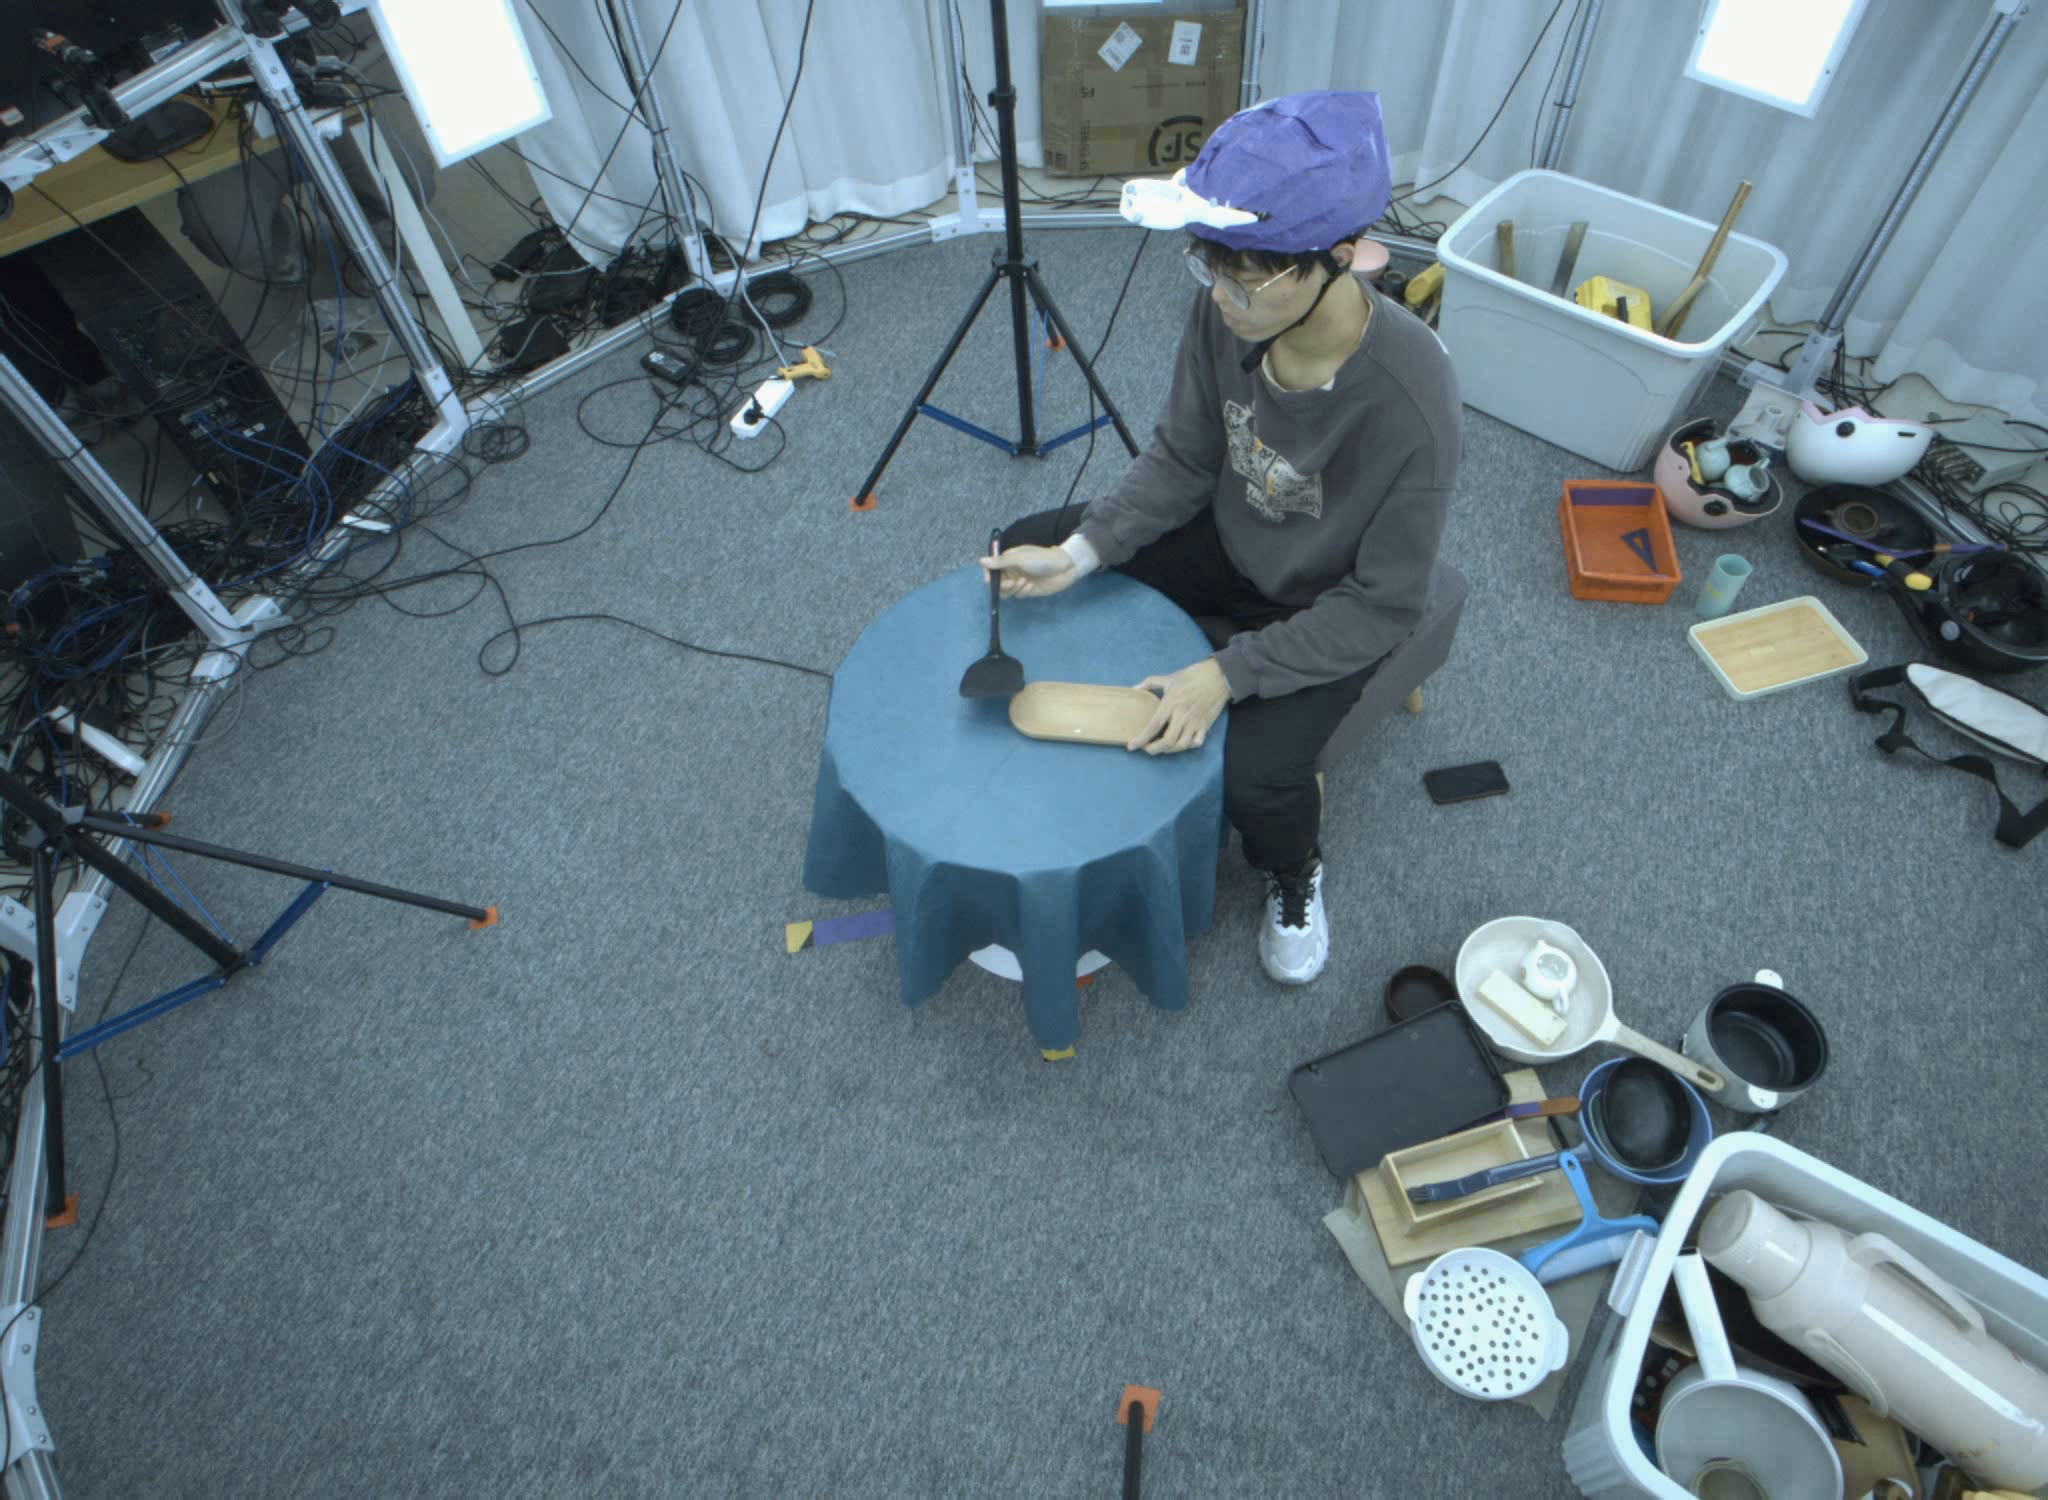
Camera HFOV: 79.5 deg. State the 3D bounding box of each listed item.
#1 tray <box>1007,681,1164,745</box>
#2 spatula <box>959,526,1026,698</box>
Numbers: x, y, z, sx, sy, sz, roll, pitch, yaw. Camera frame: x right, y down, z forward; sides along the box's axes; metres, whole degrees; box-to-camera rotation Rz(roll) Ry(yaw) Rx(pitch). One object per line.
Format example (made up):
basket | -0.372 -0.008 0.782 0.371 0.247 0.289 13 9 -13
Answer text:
tray | 0.090 -0.054 1.810 0.230 0.020 0.101 4 53 7
spatula | -0.046 -0.216 1.862 0.099 0.041 0.323 -3 65 5
